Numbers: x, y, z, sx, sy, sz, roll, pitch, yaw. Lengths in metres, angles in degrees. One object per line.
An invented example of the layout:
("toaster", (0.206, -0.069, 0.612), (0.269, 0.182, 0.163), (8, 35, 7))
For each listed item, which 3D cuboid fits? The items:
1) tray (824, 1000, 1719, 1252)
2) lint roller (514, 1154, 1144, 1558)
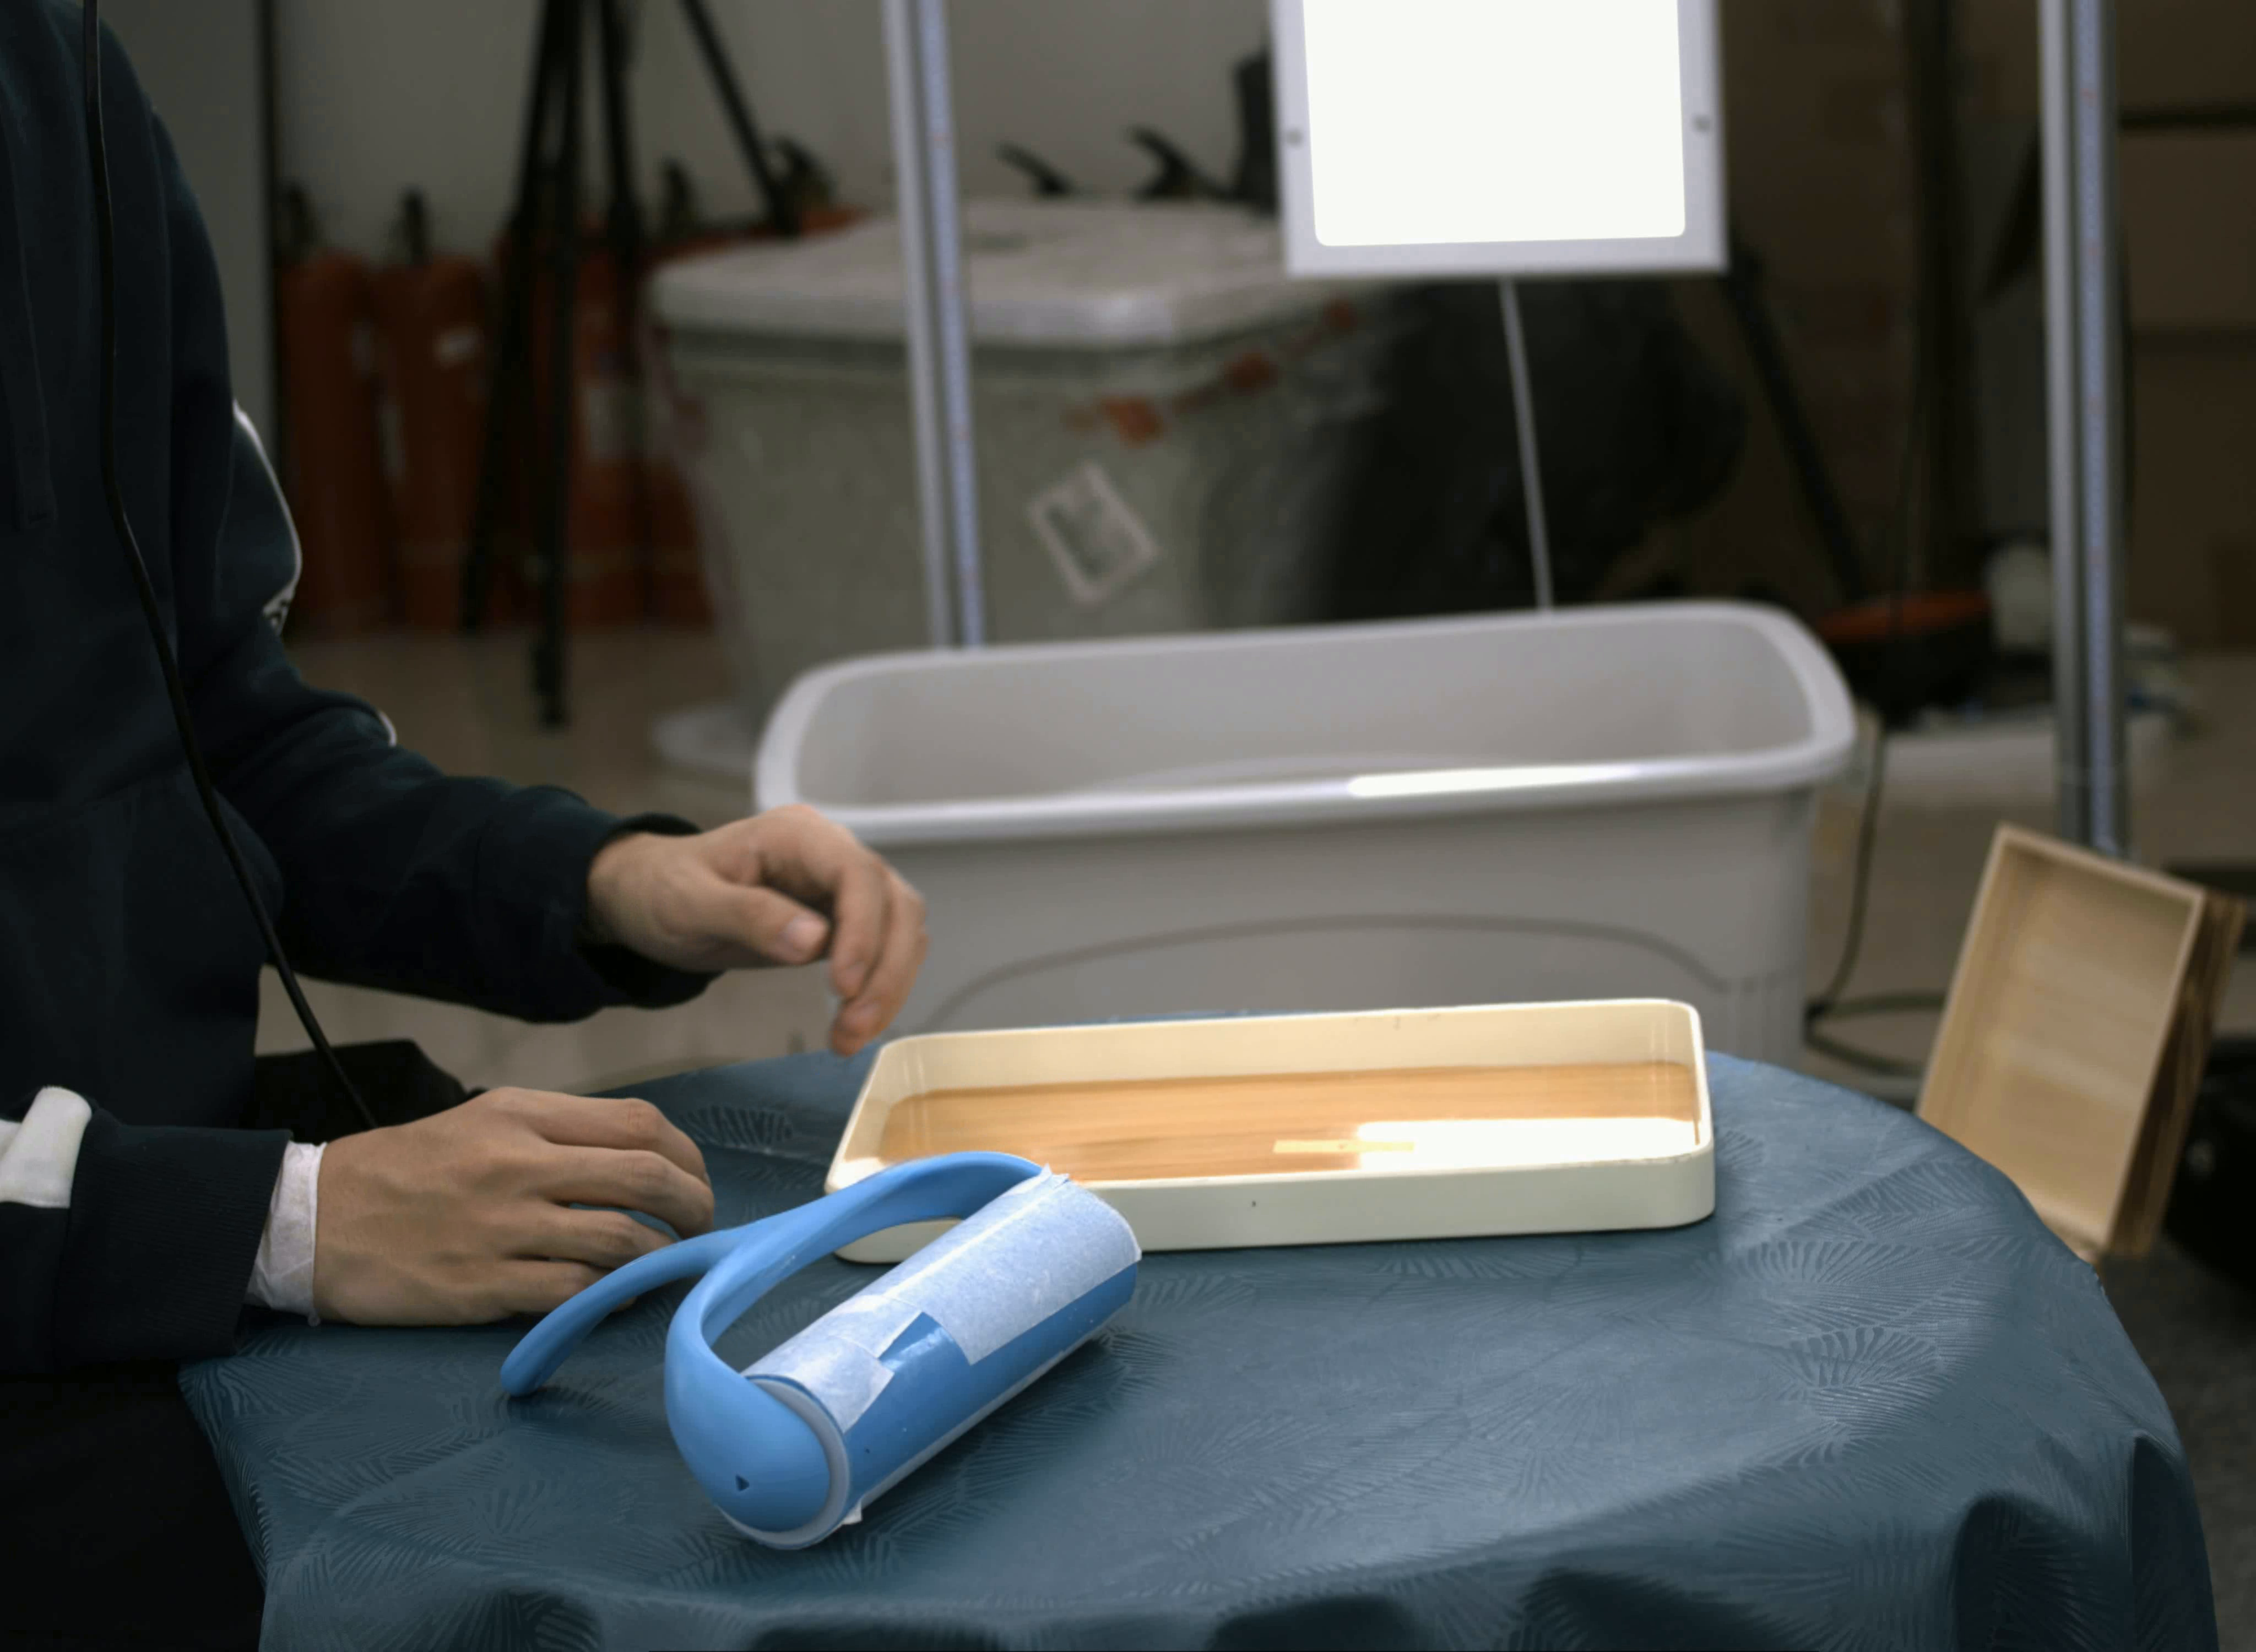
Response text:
("tray", (0.053, 0.105, 1.907), (0.301, 0.027, 0.190), (-3, 14, 7))
("lint roller", (-0.112, 0.158, 1.694), (0.183, 0.068, 0.224), (2, 17, 23))
